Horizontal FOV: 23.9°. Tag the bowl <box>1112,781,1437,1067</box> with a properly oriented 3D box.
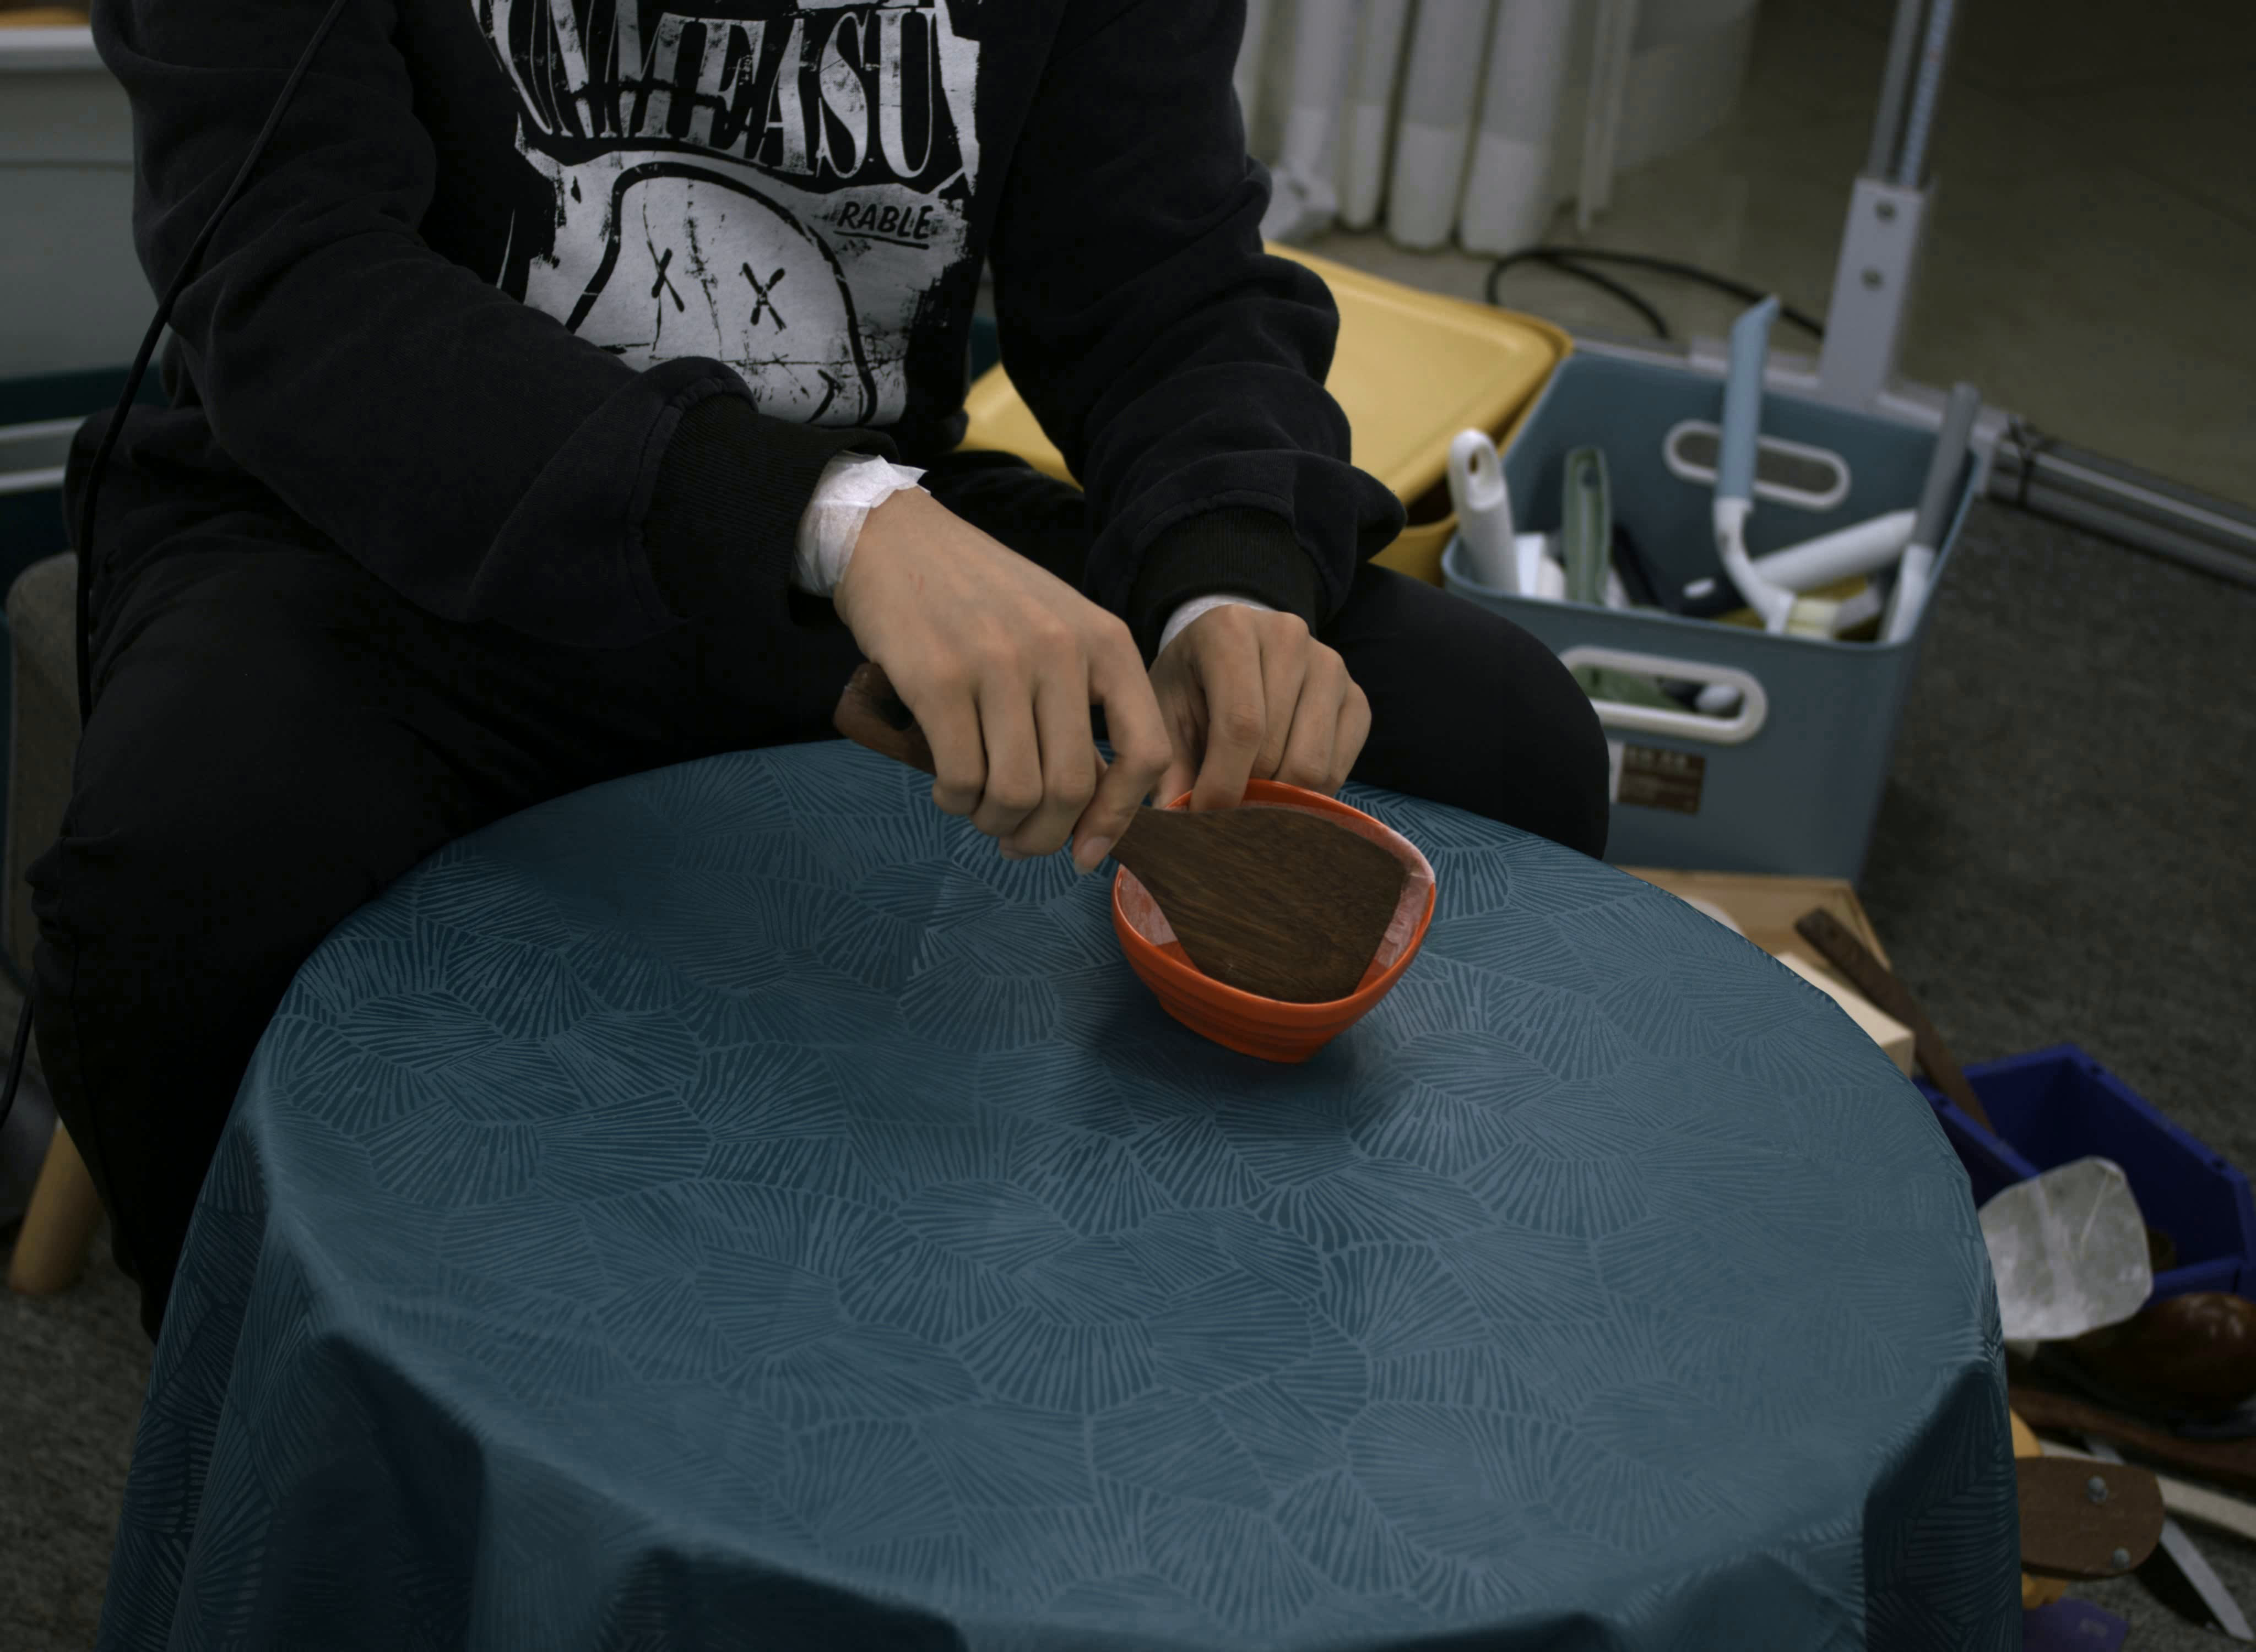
[{"bbox_3d":[0.050,0.041,1.902,0.118,0.051,0.120,3,43,-3],"label":"bowl"}]

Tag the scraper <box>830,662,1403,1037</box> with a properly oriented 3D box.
[{"bbox_3d":[-0.007,-0.001,1.850,0.210,0.076,0.011,27,5,-10],"label":"scraper"}]
